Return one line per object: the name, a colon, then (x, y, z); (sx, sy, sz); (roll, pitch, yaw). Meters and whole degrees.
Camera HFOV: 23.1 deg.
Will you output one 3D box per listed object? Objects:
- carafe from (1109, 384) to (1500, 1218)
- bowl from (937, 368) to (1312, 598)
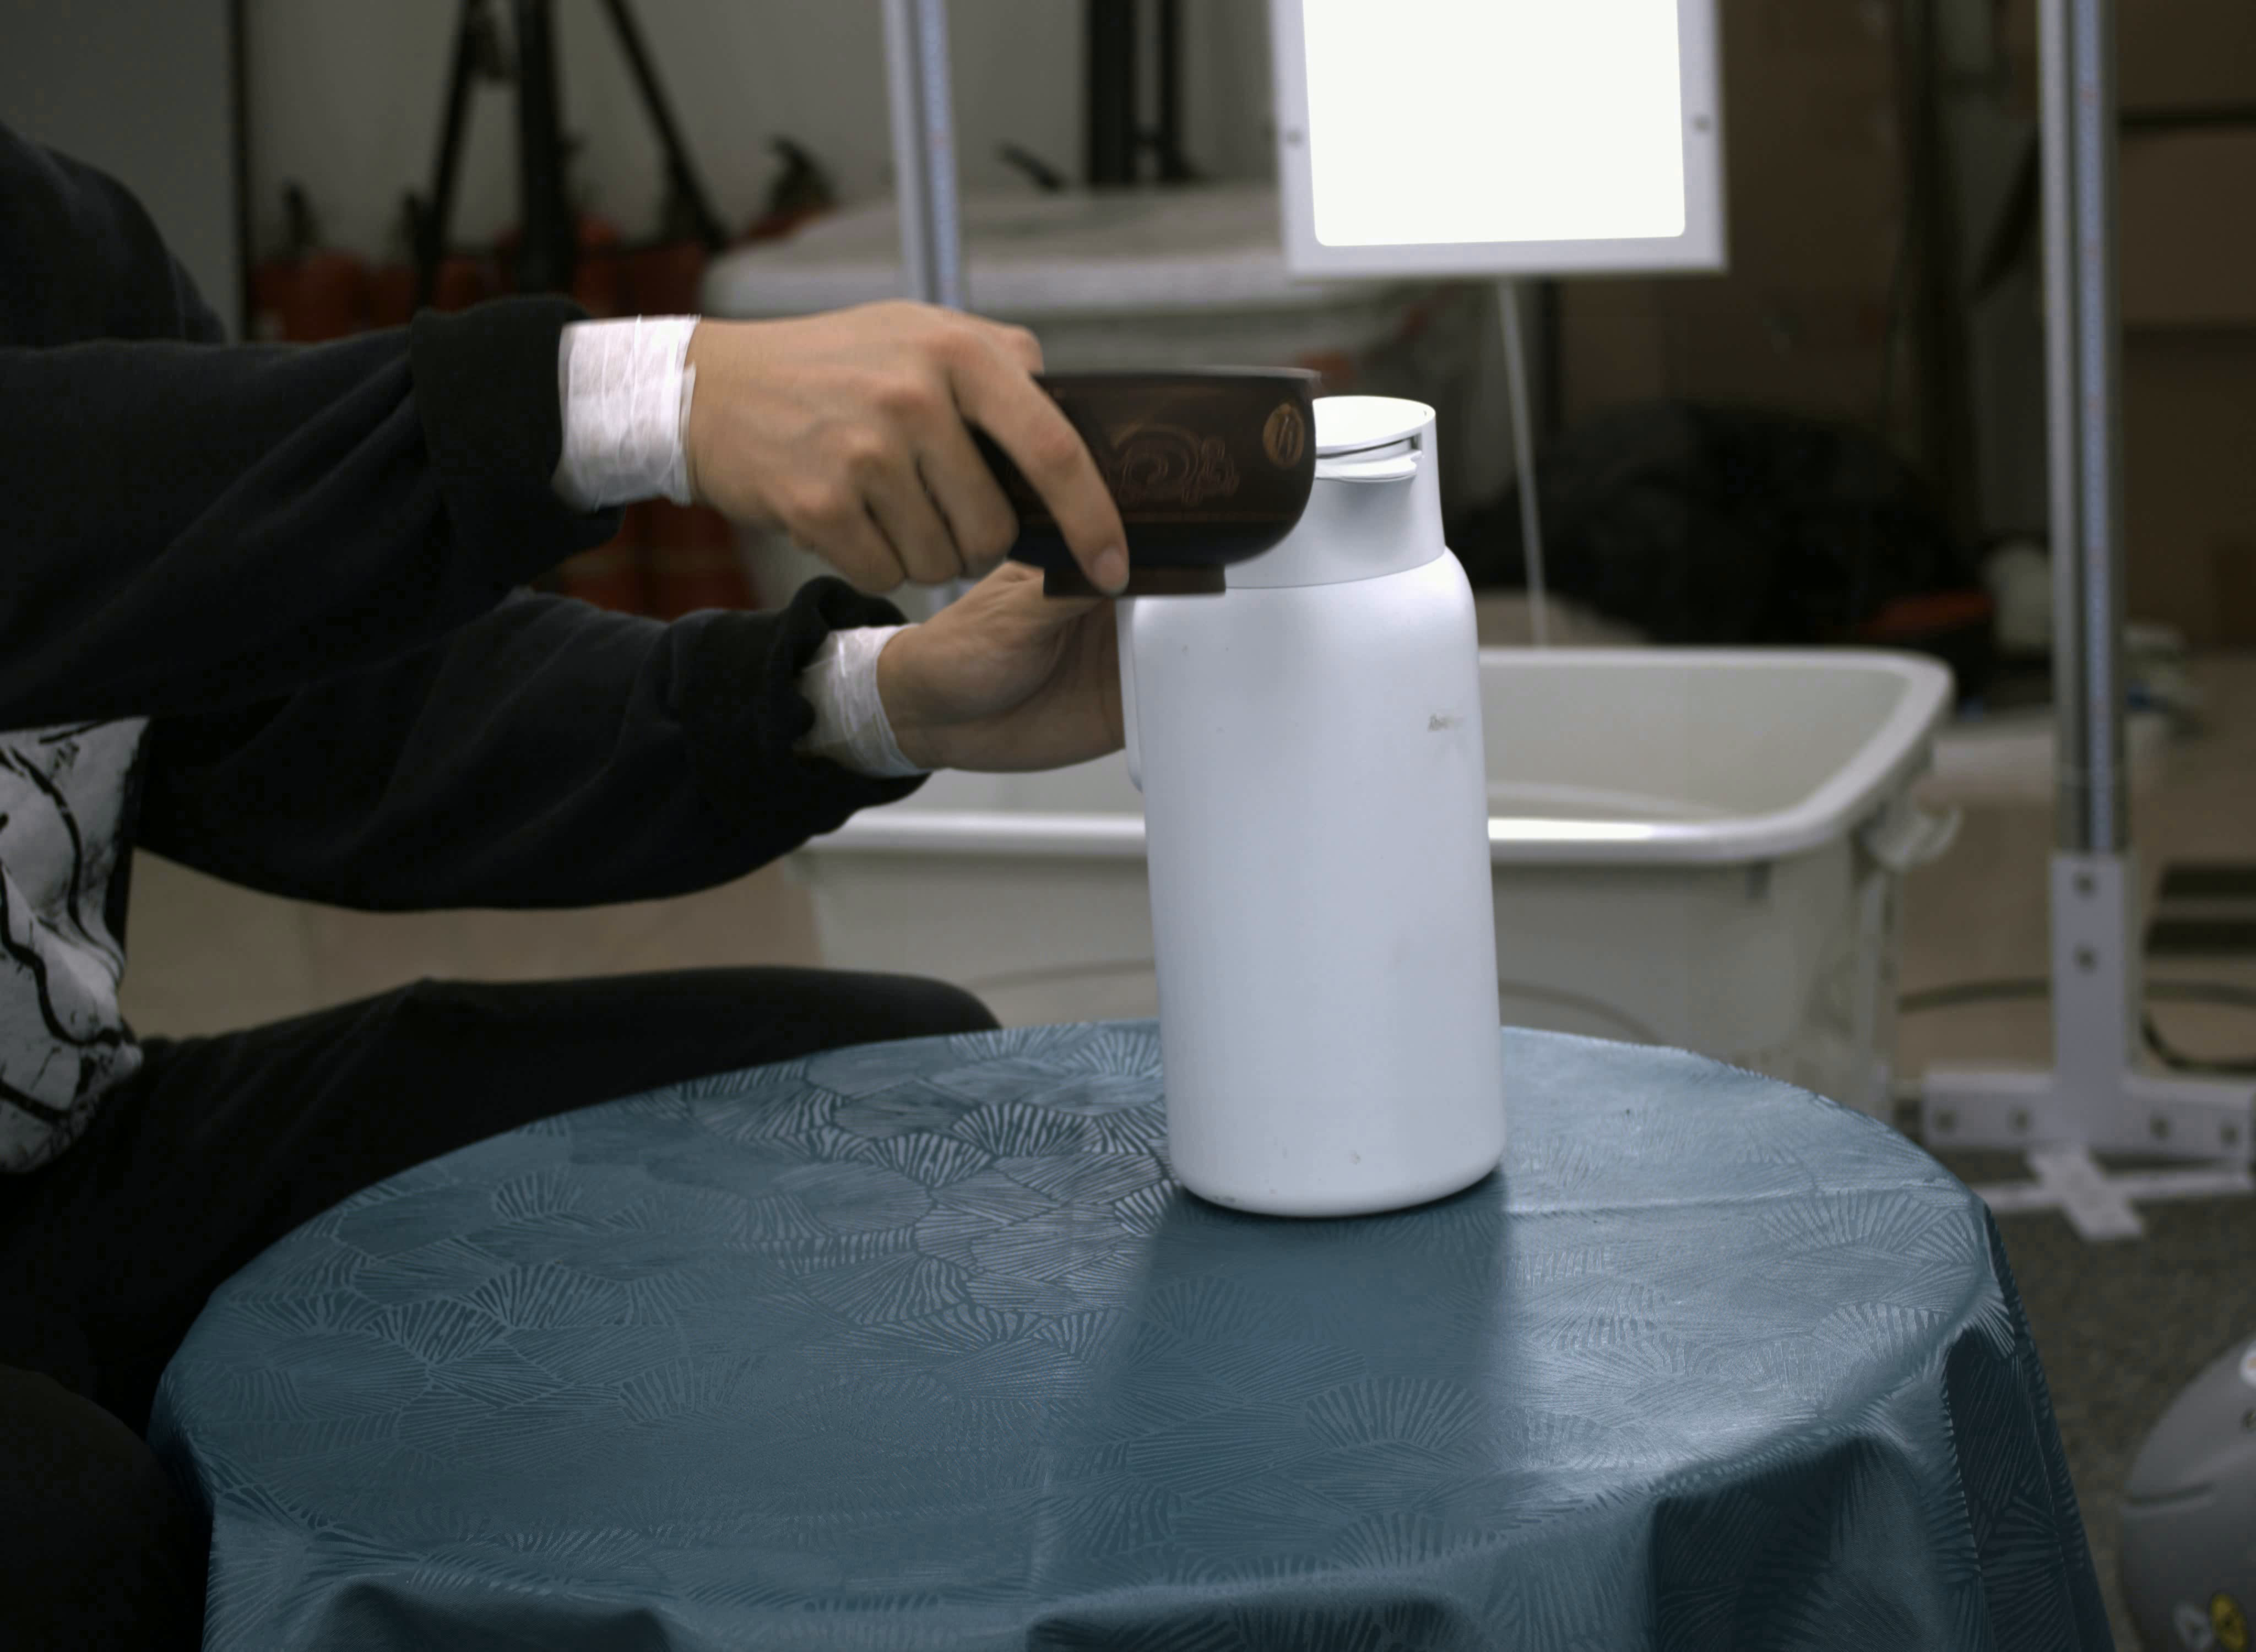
carafe: (0.052, -0.011, 1.881); (0.121, 0.270, 0.176); (-15, 17, -28)
bowl: (0.000, -0.106, 1.714); (0.117, 0.070, 0.118); (-2, 3, -1)
